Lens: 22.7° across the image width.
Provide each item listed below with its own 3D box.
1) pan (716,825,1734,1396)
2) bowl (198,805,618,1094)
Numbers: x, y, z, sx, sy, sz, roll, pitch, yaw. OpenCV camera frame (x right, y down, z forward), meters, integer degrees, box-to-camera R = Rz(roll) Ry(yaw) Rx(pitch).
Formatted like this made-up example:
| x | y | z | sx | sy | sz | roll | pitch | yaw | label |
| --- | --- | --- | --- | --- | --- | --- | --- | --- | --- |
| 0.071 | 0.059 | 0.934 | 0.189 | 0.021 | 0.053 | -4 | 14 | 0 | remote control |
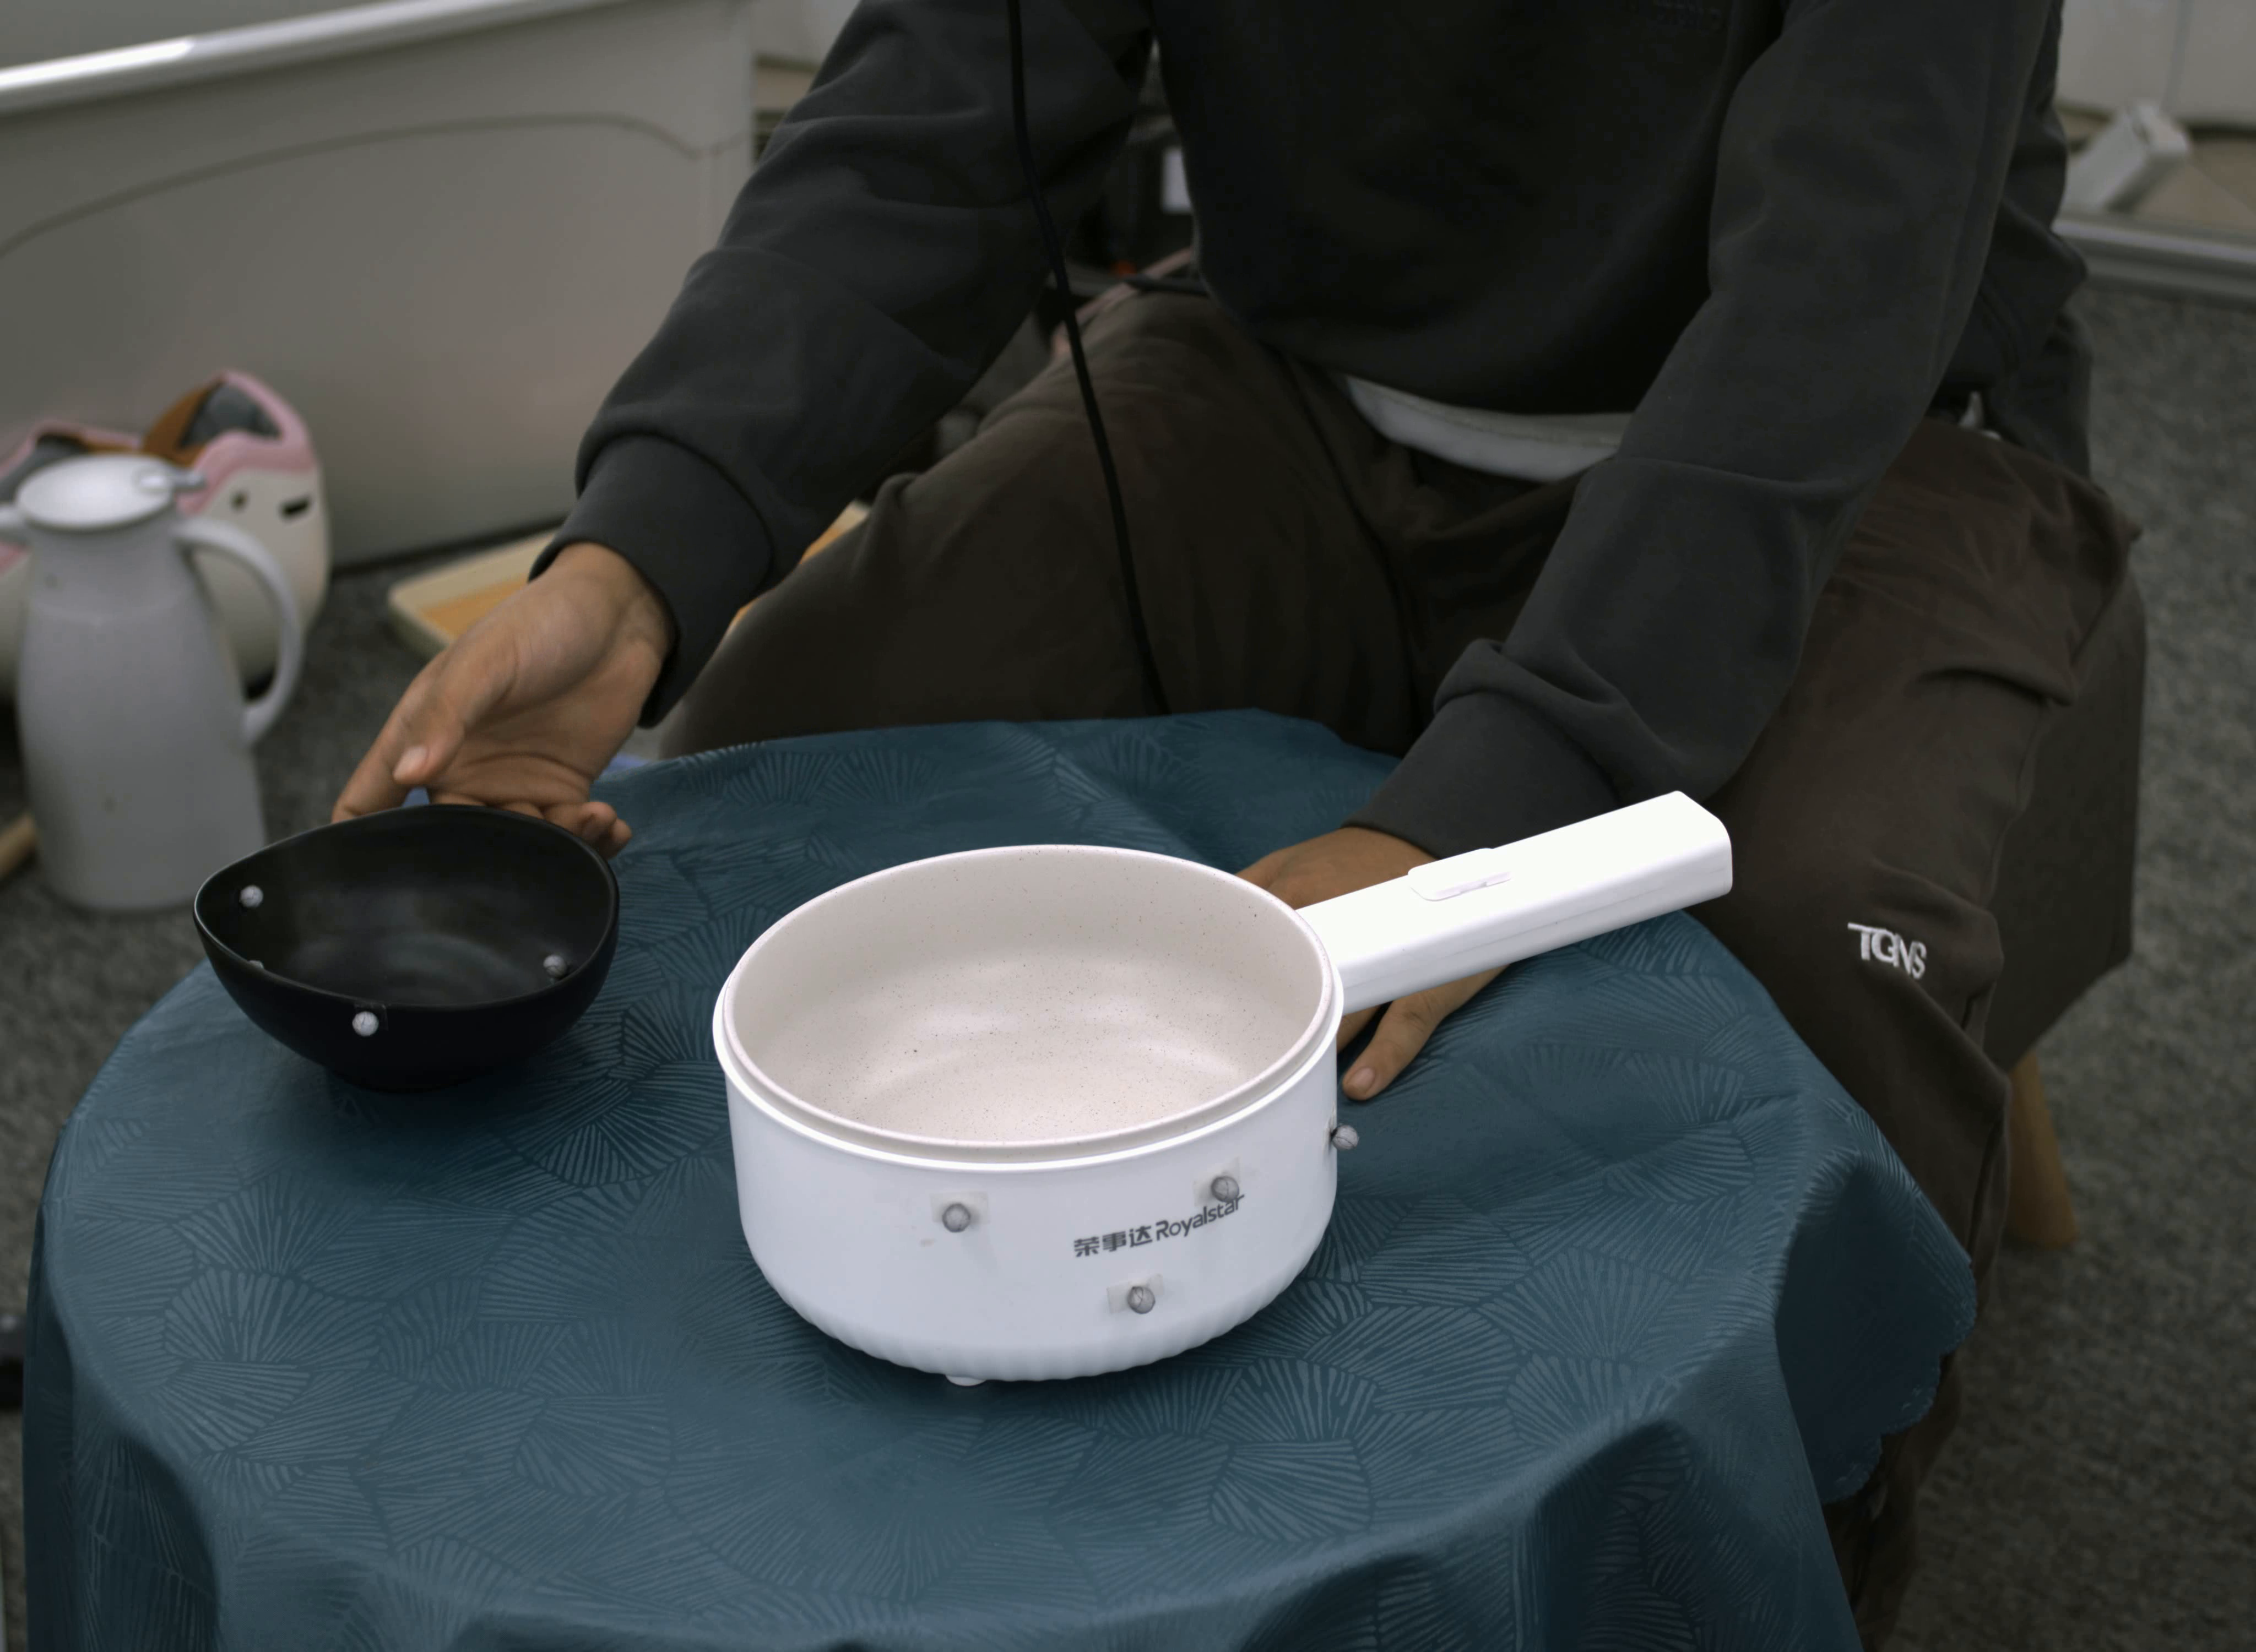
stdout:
| x | y | z | sx | sy | sz | roll | pitch | yaw | label |
| --- | --- | --- | --- | --- | --- | --- | --- | --- | --- |
| 0.038 | 0.085 | 1.843 | 0.356 | 0.101 | 0.202 | -14 | 25 | -25 | pan |
| -0.249 | 0.051 | 1.953 | 0.139 | 0.066 | 0.170 | -24 | 33 | -36 | bowl |
